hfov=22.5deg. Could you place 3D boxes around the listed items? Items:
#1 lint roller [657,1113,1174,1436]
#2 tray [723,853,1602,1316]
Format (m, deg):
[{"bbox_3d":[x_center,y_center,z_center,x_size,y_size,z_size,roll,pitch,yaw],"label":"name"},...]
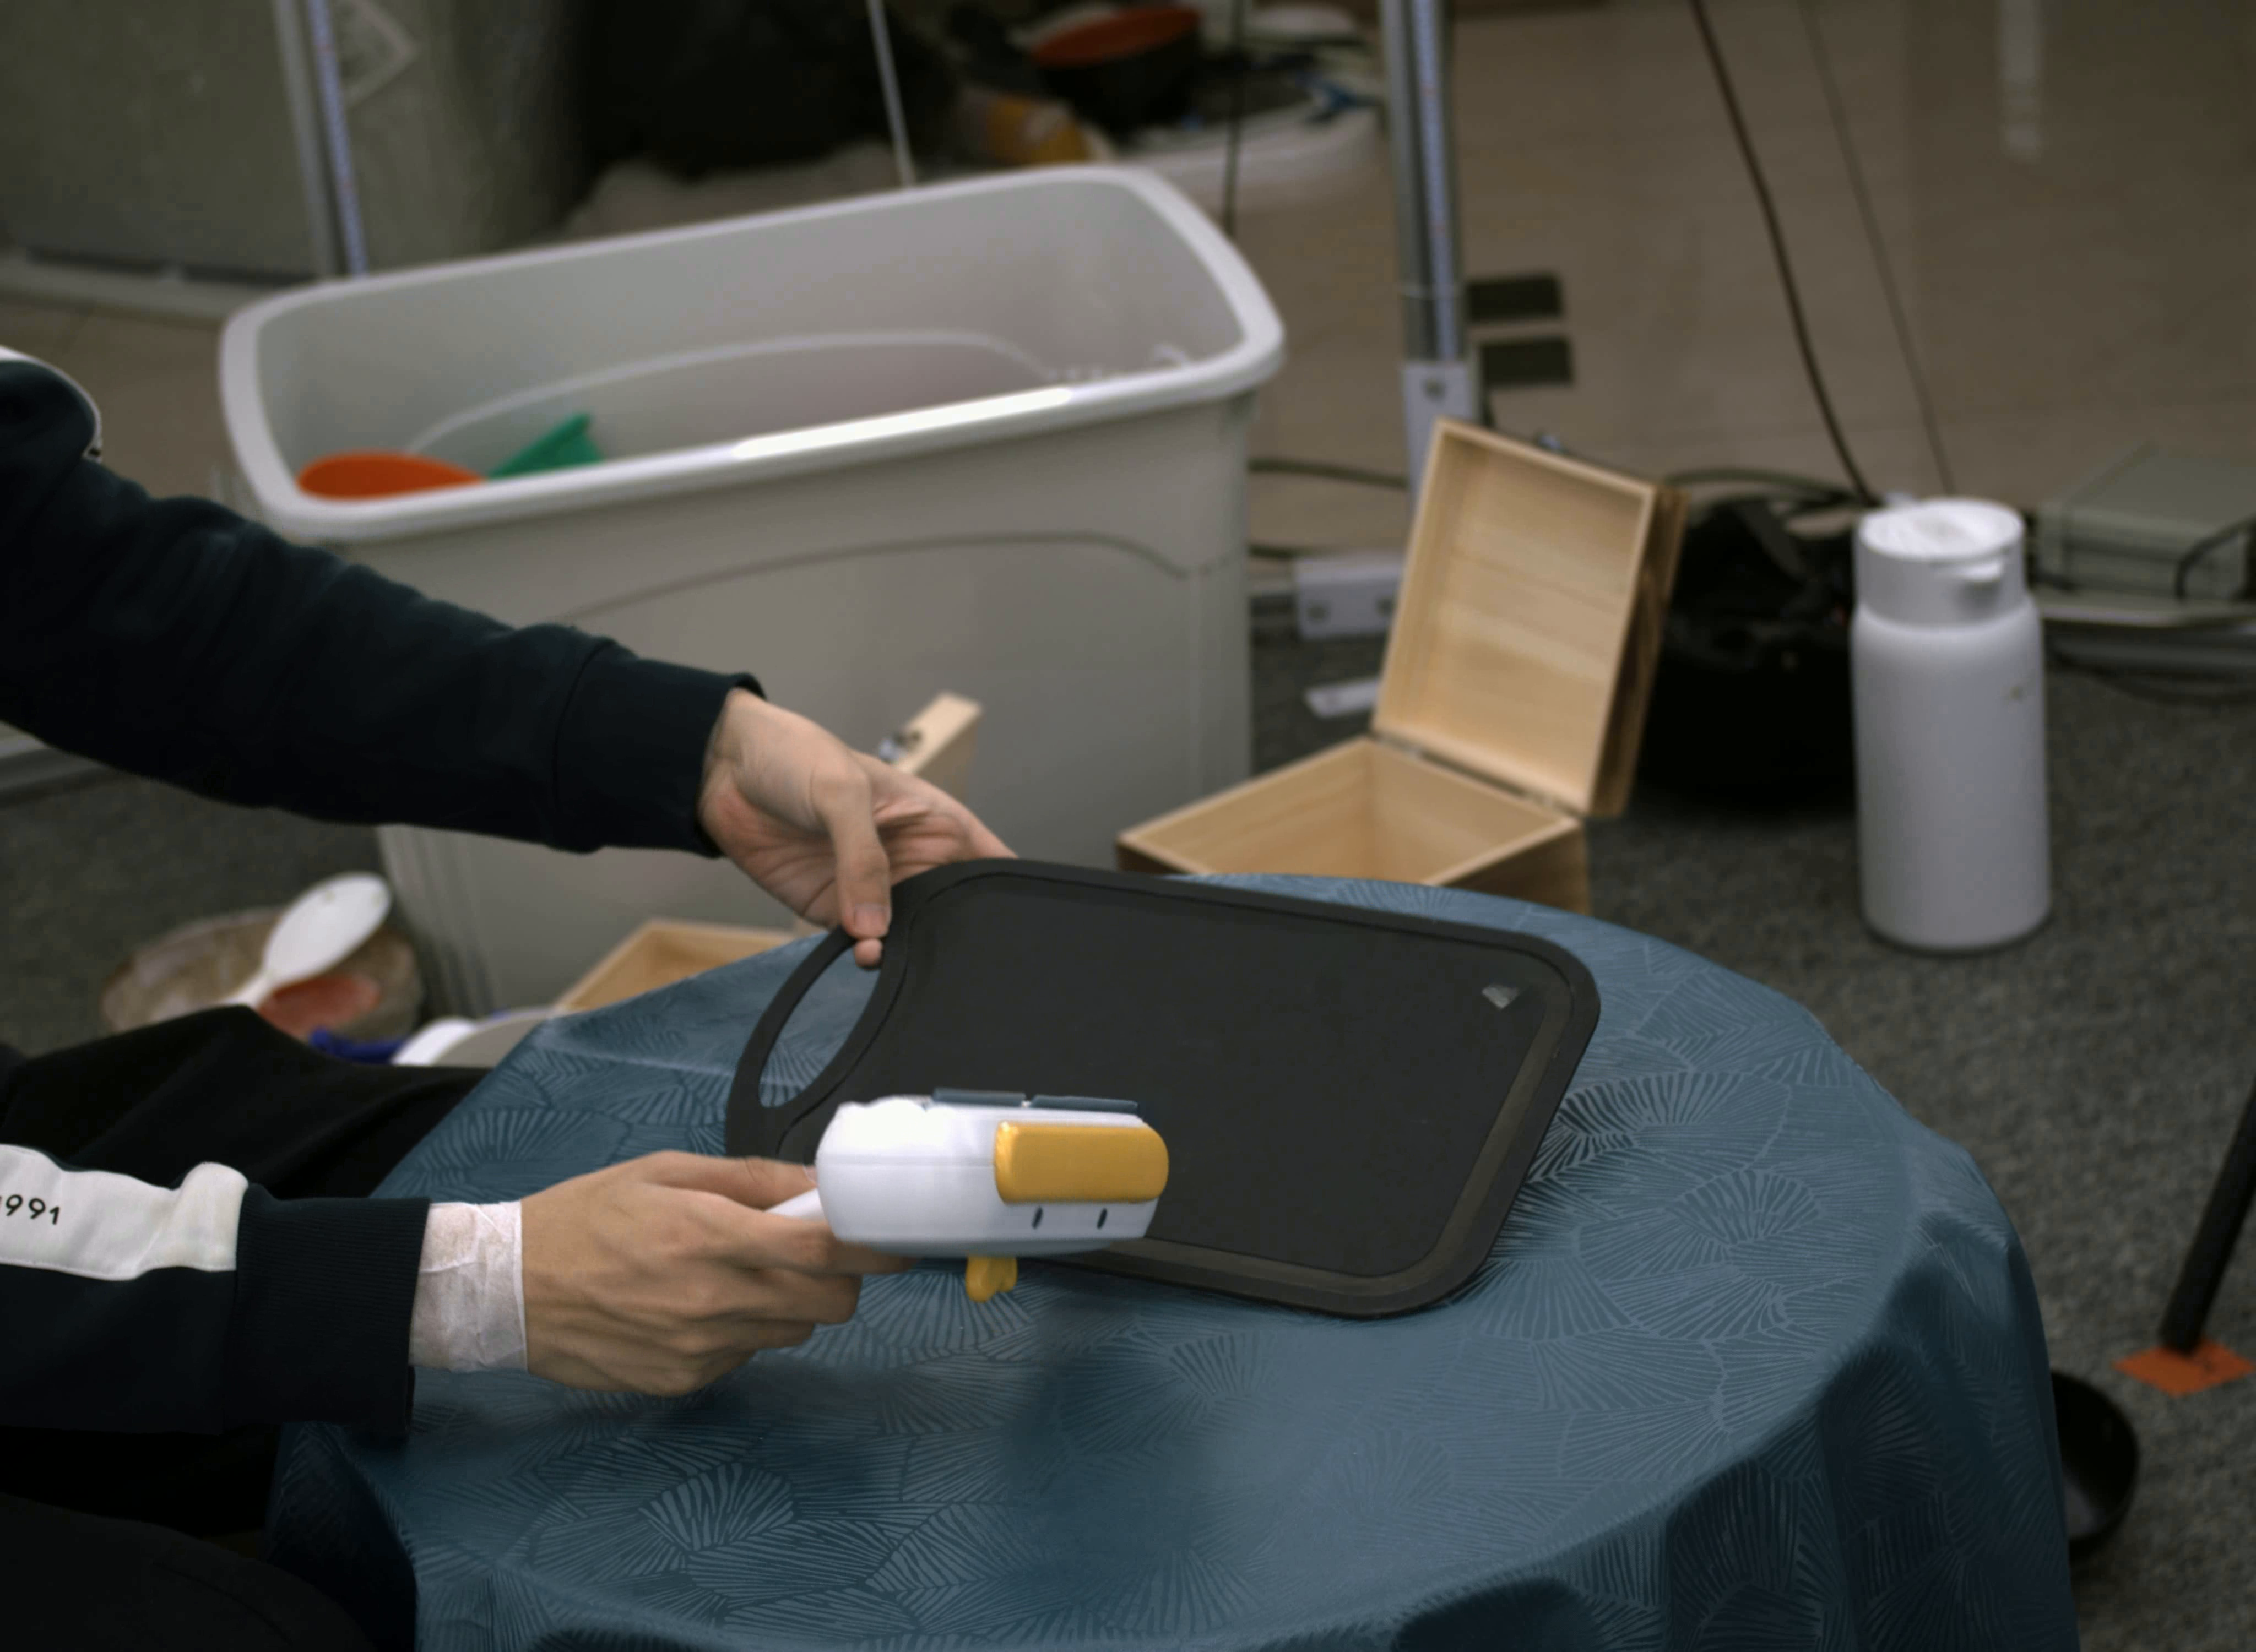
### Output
[{"bbox_3d":[-0.093,0.158,2.007,0.193,0.074,0.192,-25,-10,26],"label":"lint roller"},{"bbox_3d":[0.005,0.092,2.153,0.324,0.010,0.208,8,45,22],"label":"tray"}]
